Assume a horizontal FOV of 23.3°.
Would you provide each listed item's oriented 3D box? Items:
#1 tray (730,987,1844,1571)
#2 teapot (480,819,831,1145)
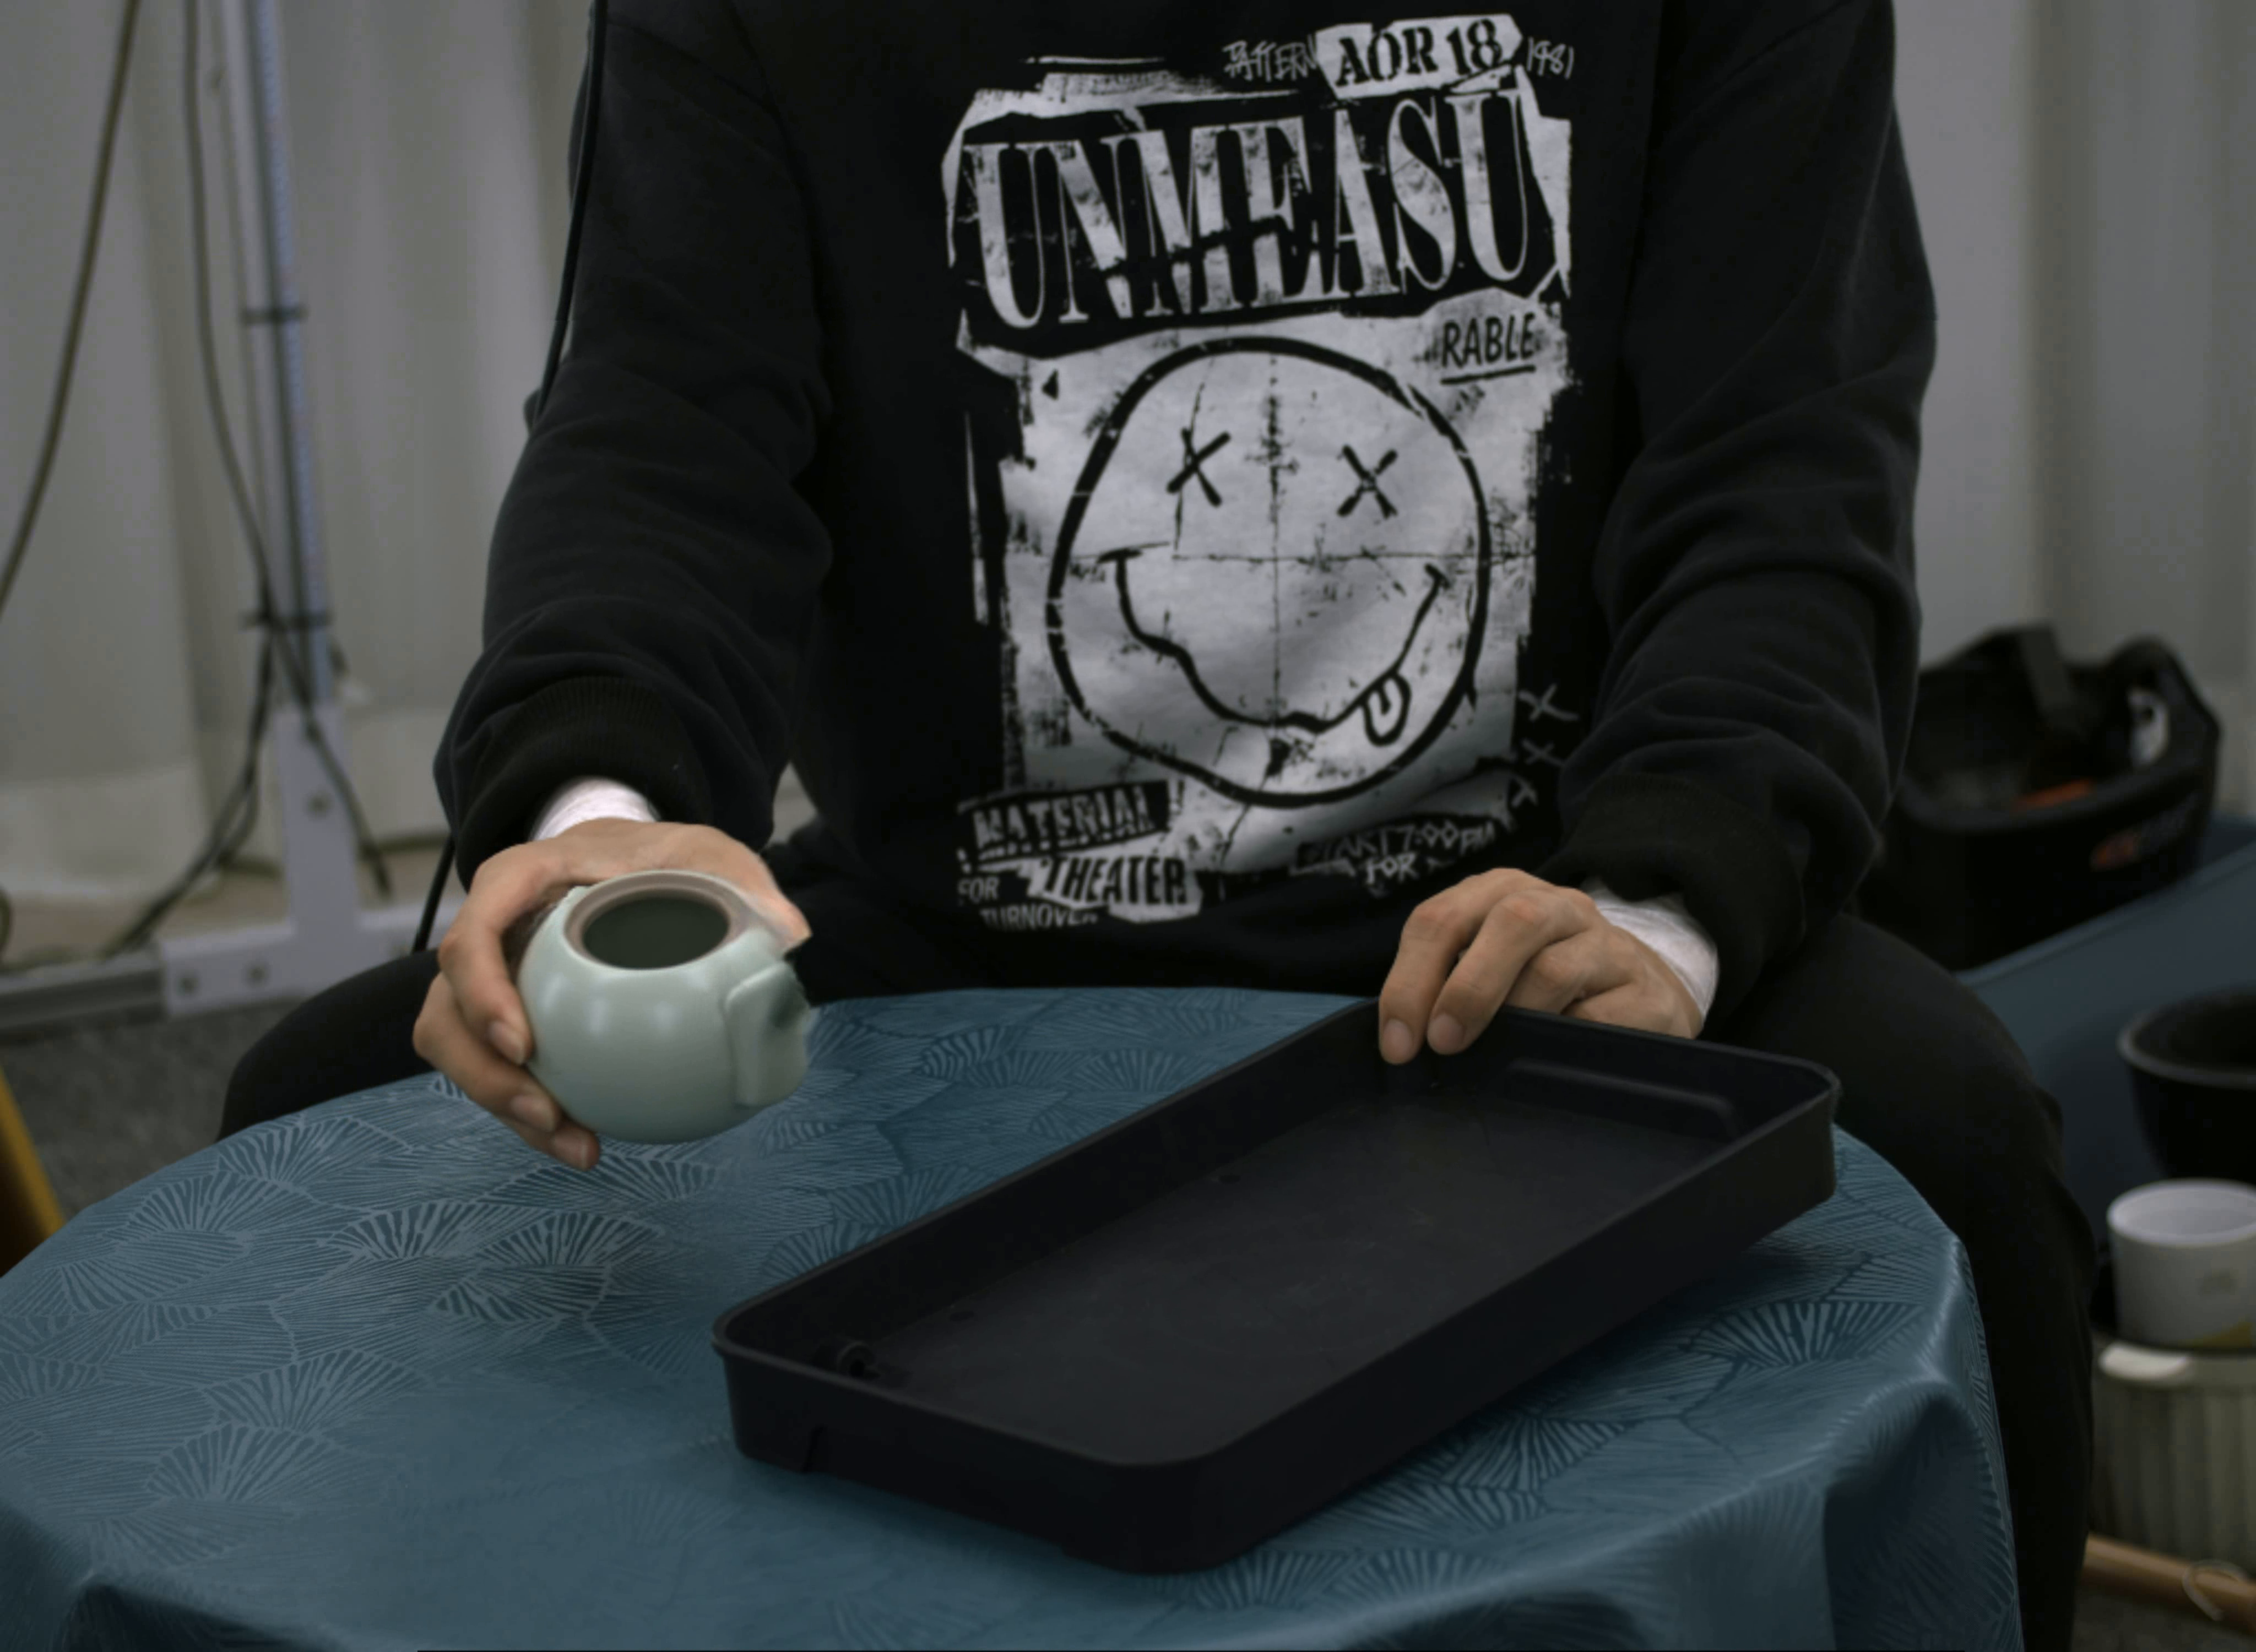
[{"bbox_3d":[0.052,0.122,1.568,0.185,0.037,0.318,8,23,40],"label":"tray"},{"bbox_3d":[-0.139,0.052,1.618,0.145,0.074,0.088,27,41,37],"label":"teapot"}]
